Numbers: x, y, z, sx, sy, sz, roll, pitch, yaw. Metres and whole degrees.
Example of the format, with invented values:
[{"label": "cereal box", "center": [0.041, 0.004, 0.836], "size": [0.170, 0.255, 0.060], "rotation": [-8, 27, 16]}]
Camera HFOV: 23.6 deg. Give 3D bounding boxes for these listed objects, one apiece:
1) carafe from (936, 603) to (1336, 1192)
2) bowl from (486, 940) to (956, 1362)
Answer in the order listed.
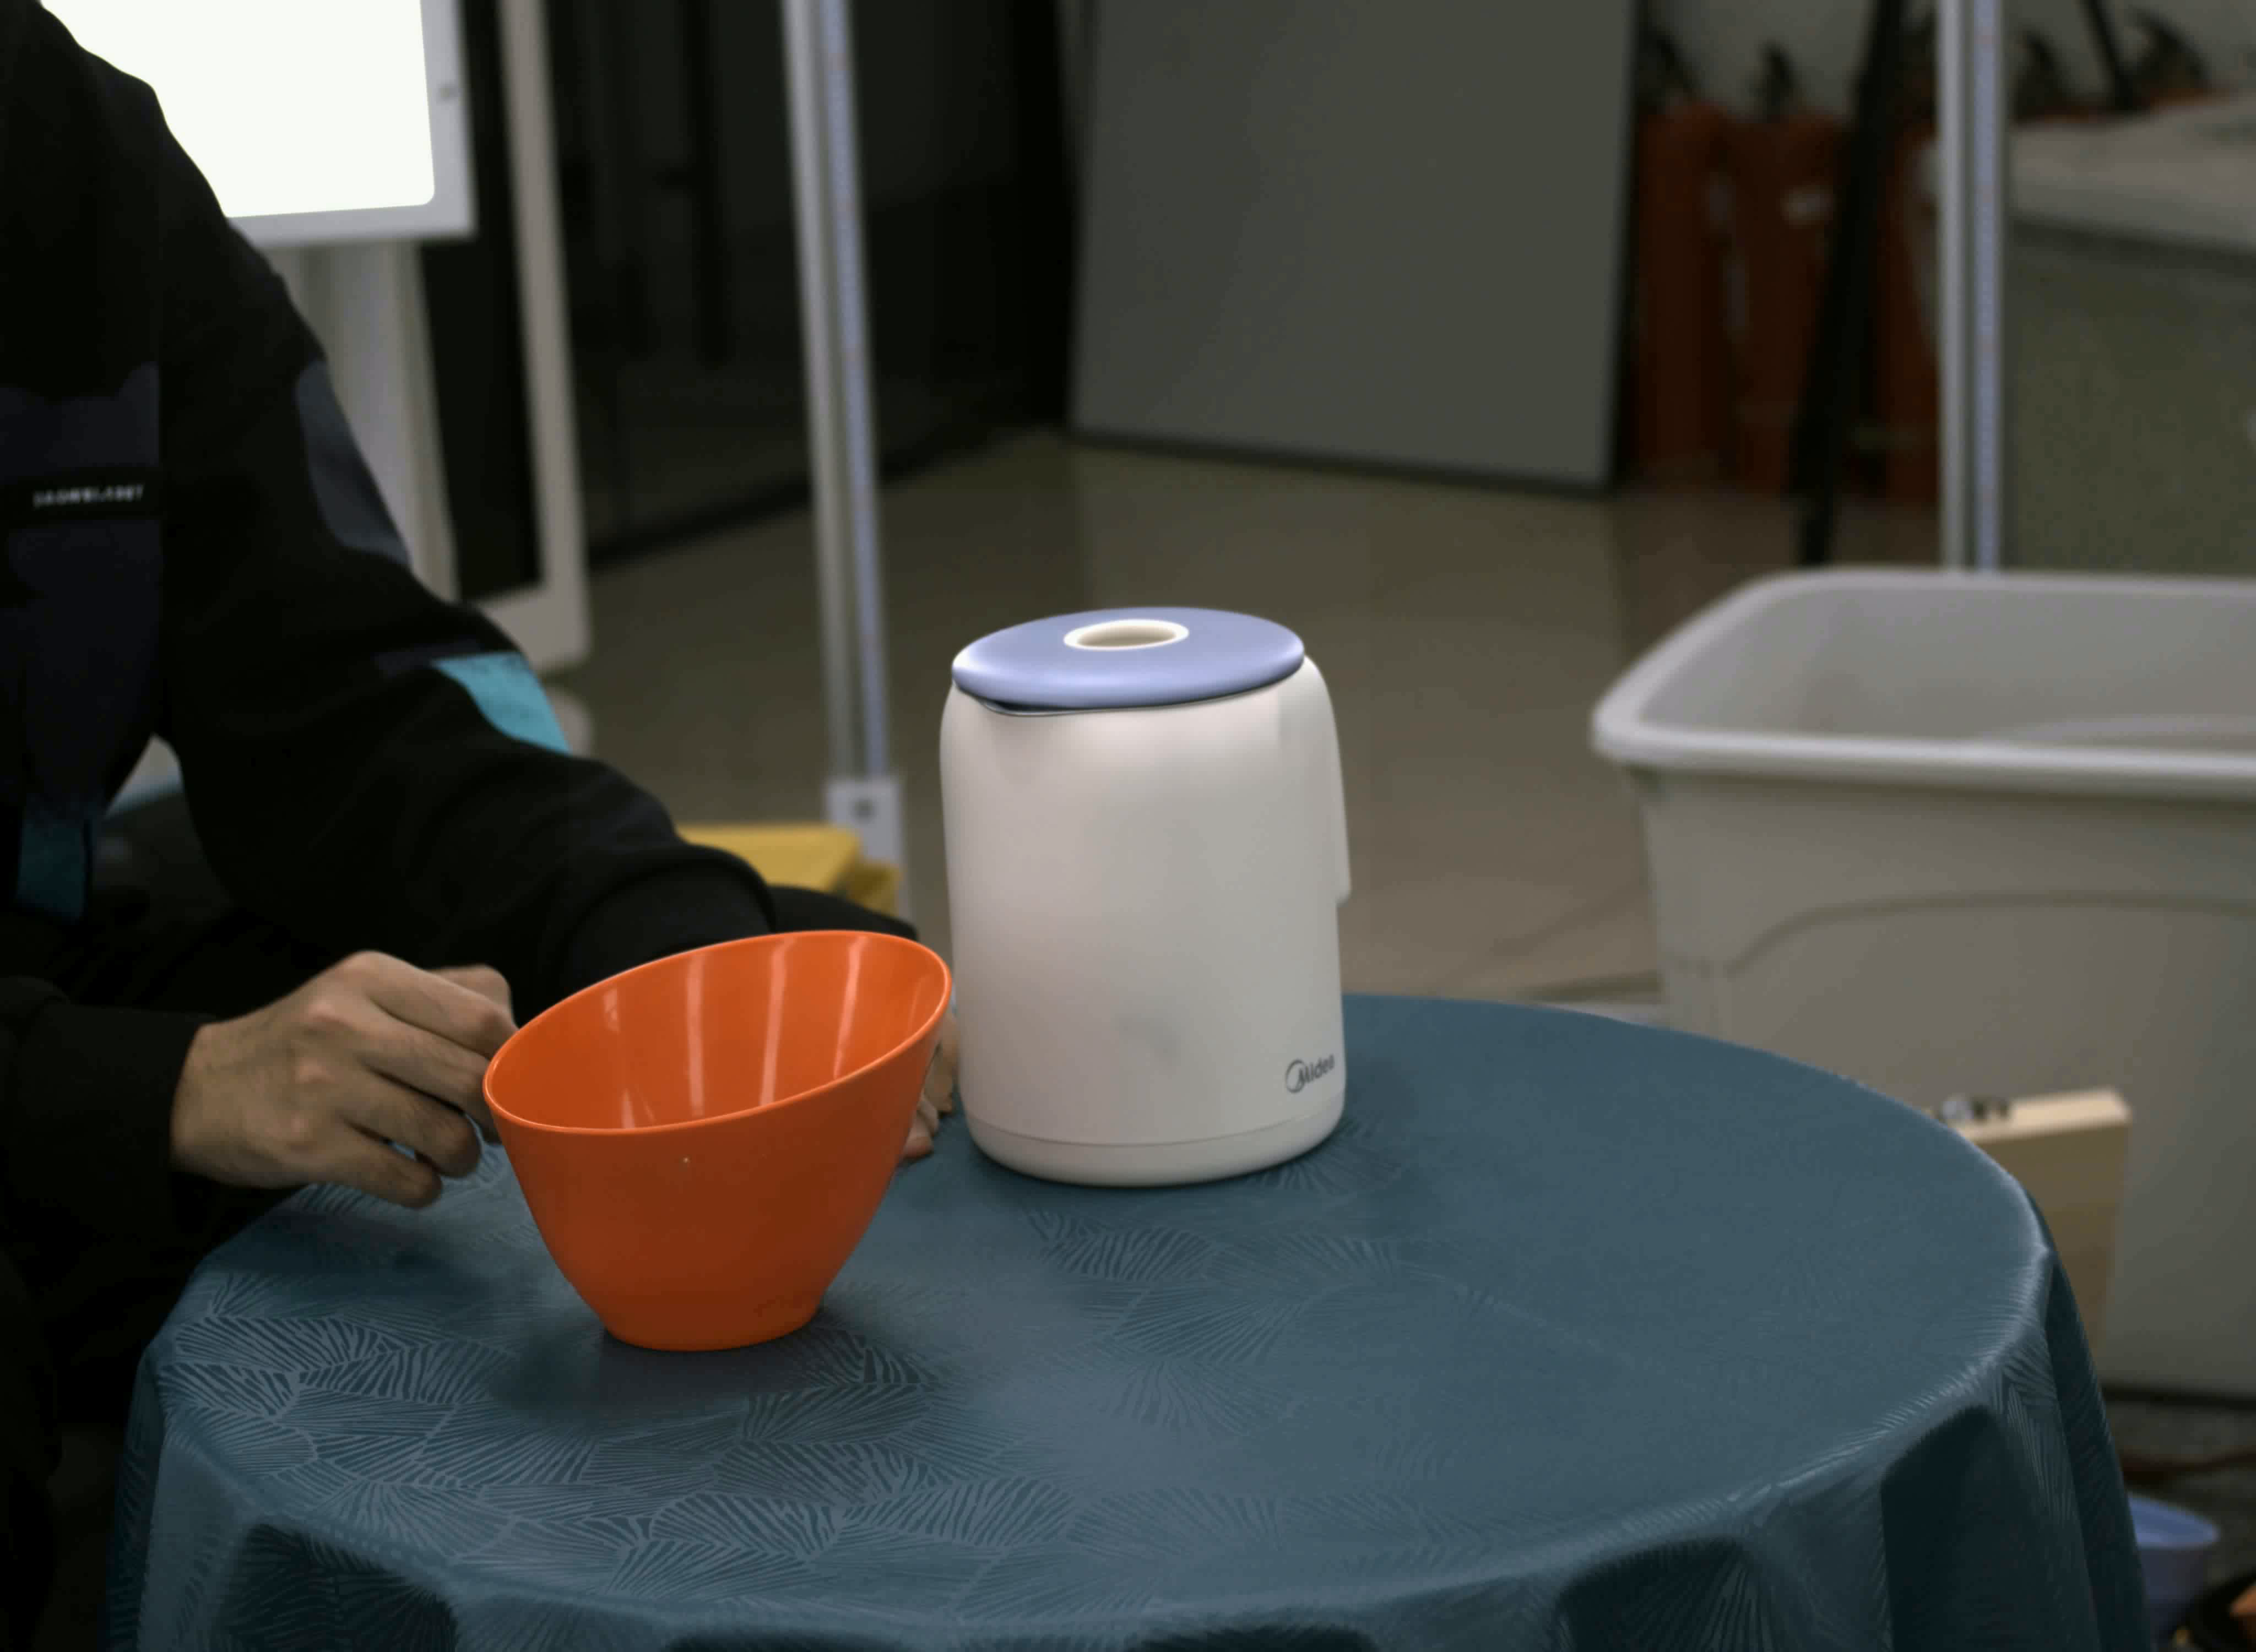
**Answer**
[{"label": "carafe", "center": [0.016, 0.018, 1.828], "size": [0.133, 0.184, 0.188], "rotation": [7, 15, 33]}, {"label": "bowl", "center": [-0.122, 0.103, 1.669], "size": [0.146, 0.106, 0.148], "rotation": [-4, 13, 0]}]
